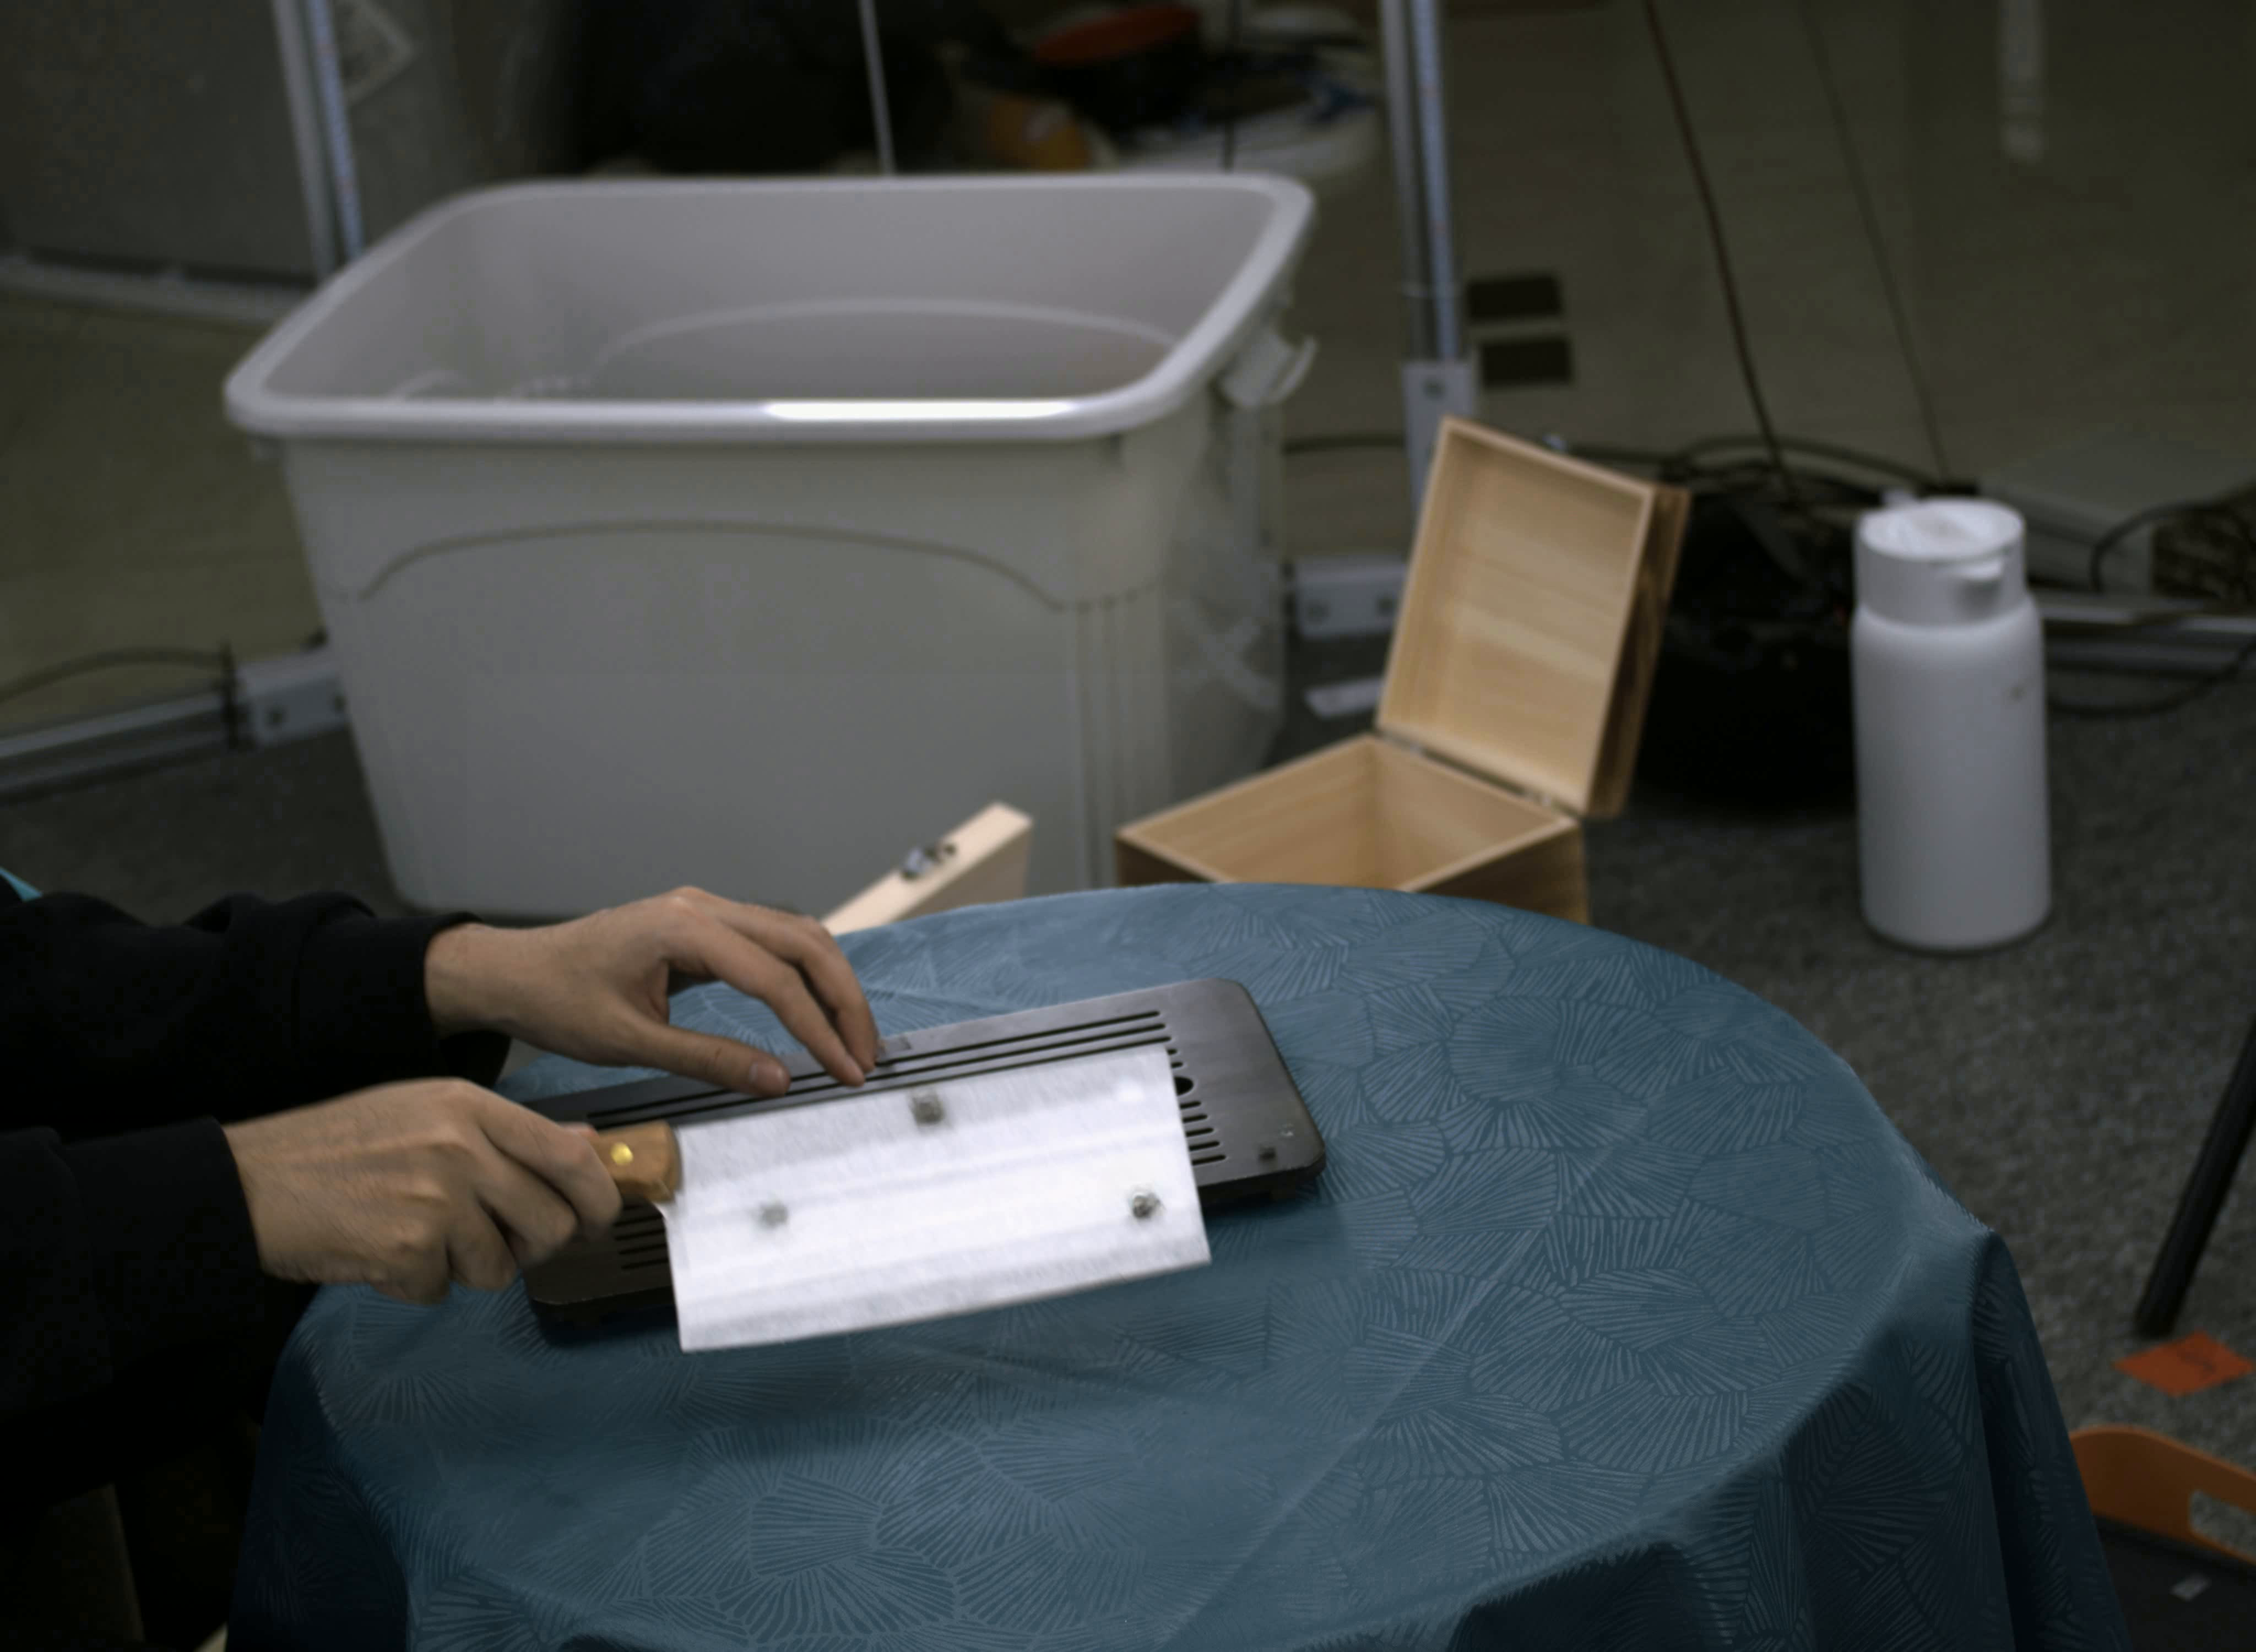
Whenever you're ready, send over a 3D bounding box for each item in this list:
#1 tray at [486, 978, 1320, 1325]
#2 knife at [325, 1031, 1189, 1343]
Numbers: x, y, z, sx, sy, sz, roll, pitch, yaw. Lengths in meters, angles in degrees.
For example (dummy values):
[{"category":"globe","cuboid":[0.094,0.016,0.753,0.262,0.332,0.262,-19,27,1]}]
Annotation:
[{"category":"tray","cuboid":[-0.089,0.124,2.178,0.305,0.019,0.167,-10,26,-7]},{"category":"knife","cuboid":[-0.131,0.137,2.022,0.305,0.021,0.091,-10,63,-4]}]
